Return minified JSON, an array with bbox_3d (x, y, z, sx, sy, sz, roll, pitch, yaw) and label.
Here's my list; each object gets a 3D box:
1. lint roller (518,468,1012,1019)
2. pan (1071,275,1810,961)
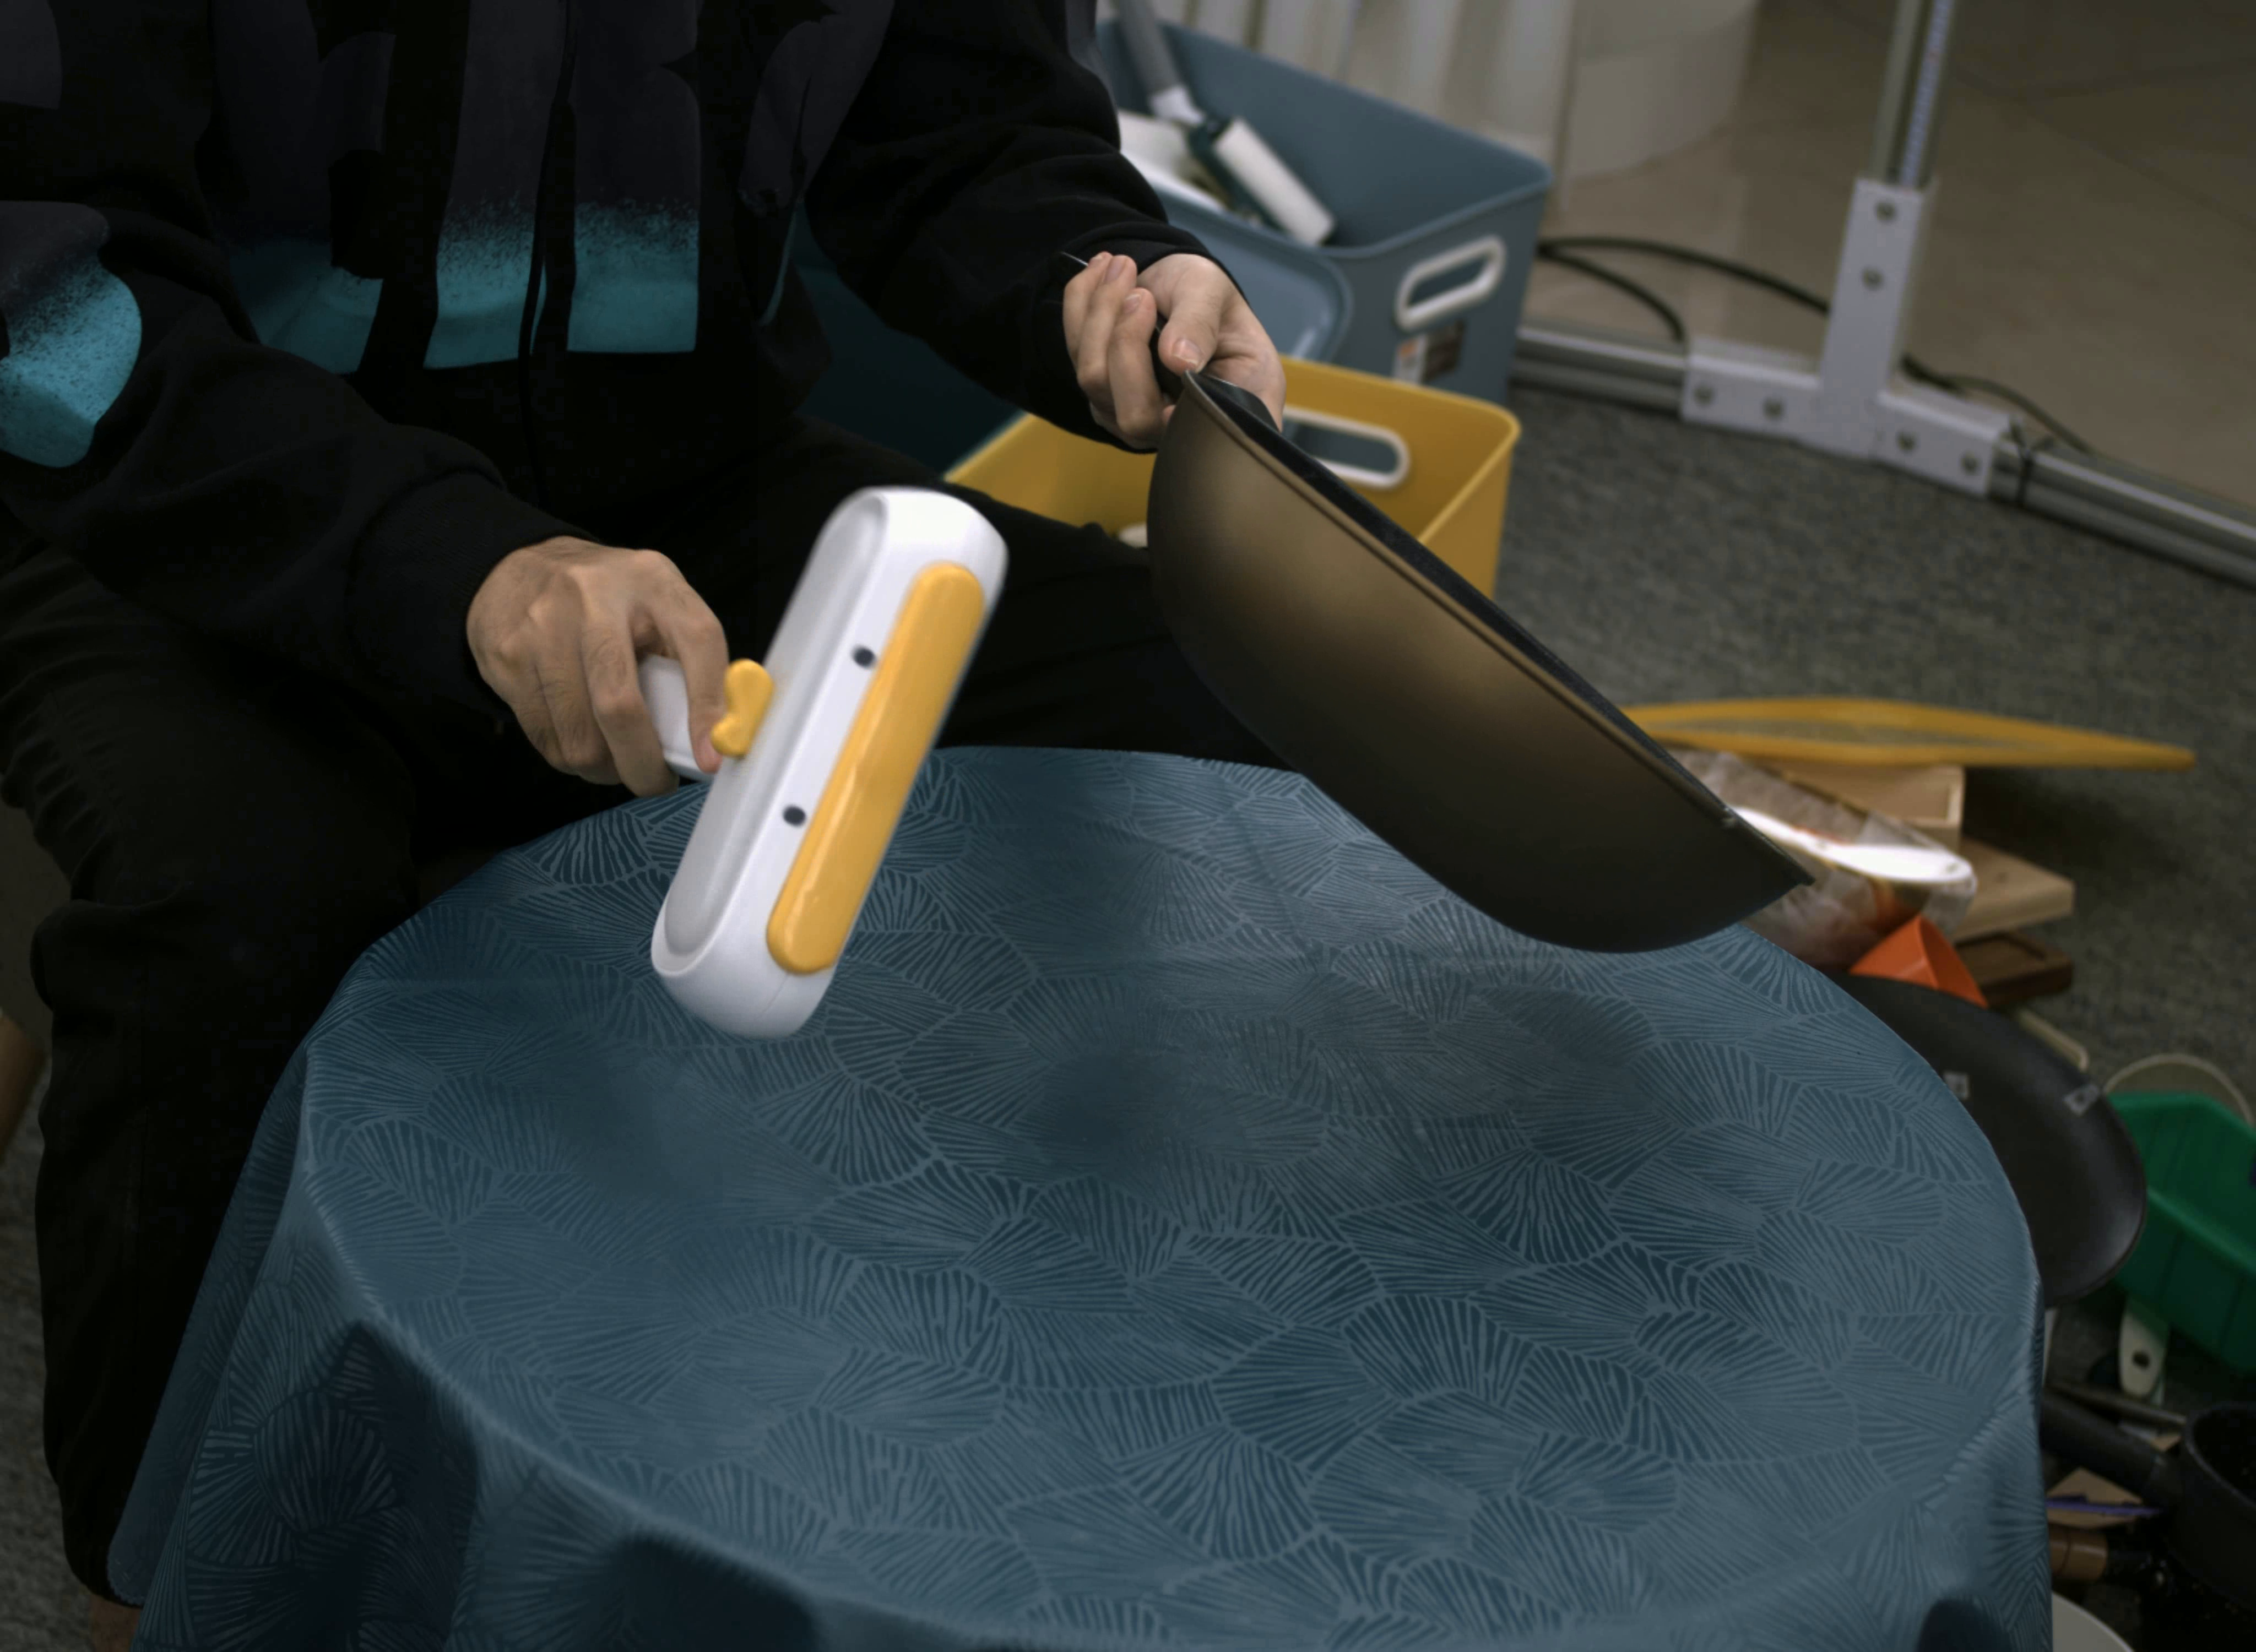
[{"bbox_3d":[-0.136,-0.035,1.812,0.073,0.193,0.193,25,-11,-35],"label":"lint roller"},{"bbox_3d":[0.061,-0.082,1.906,0.285,0.087,0.467,36,6,-39],"label":"pan"}]
